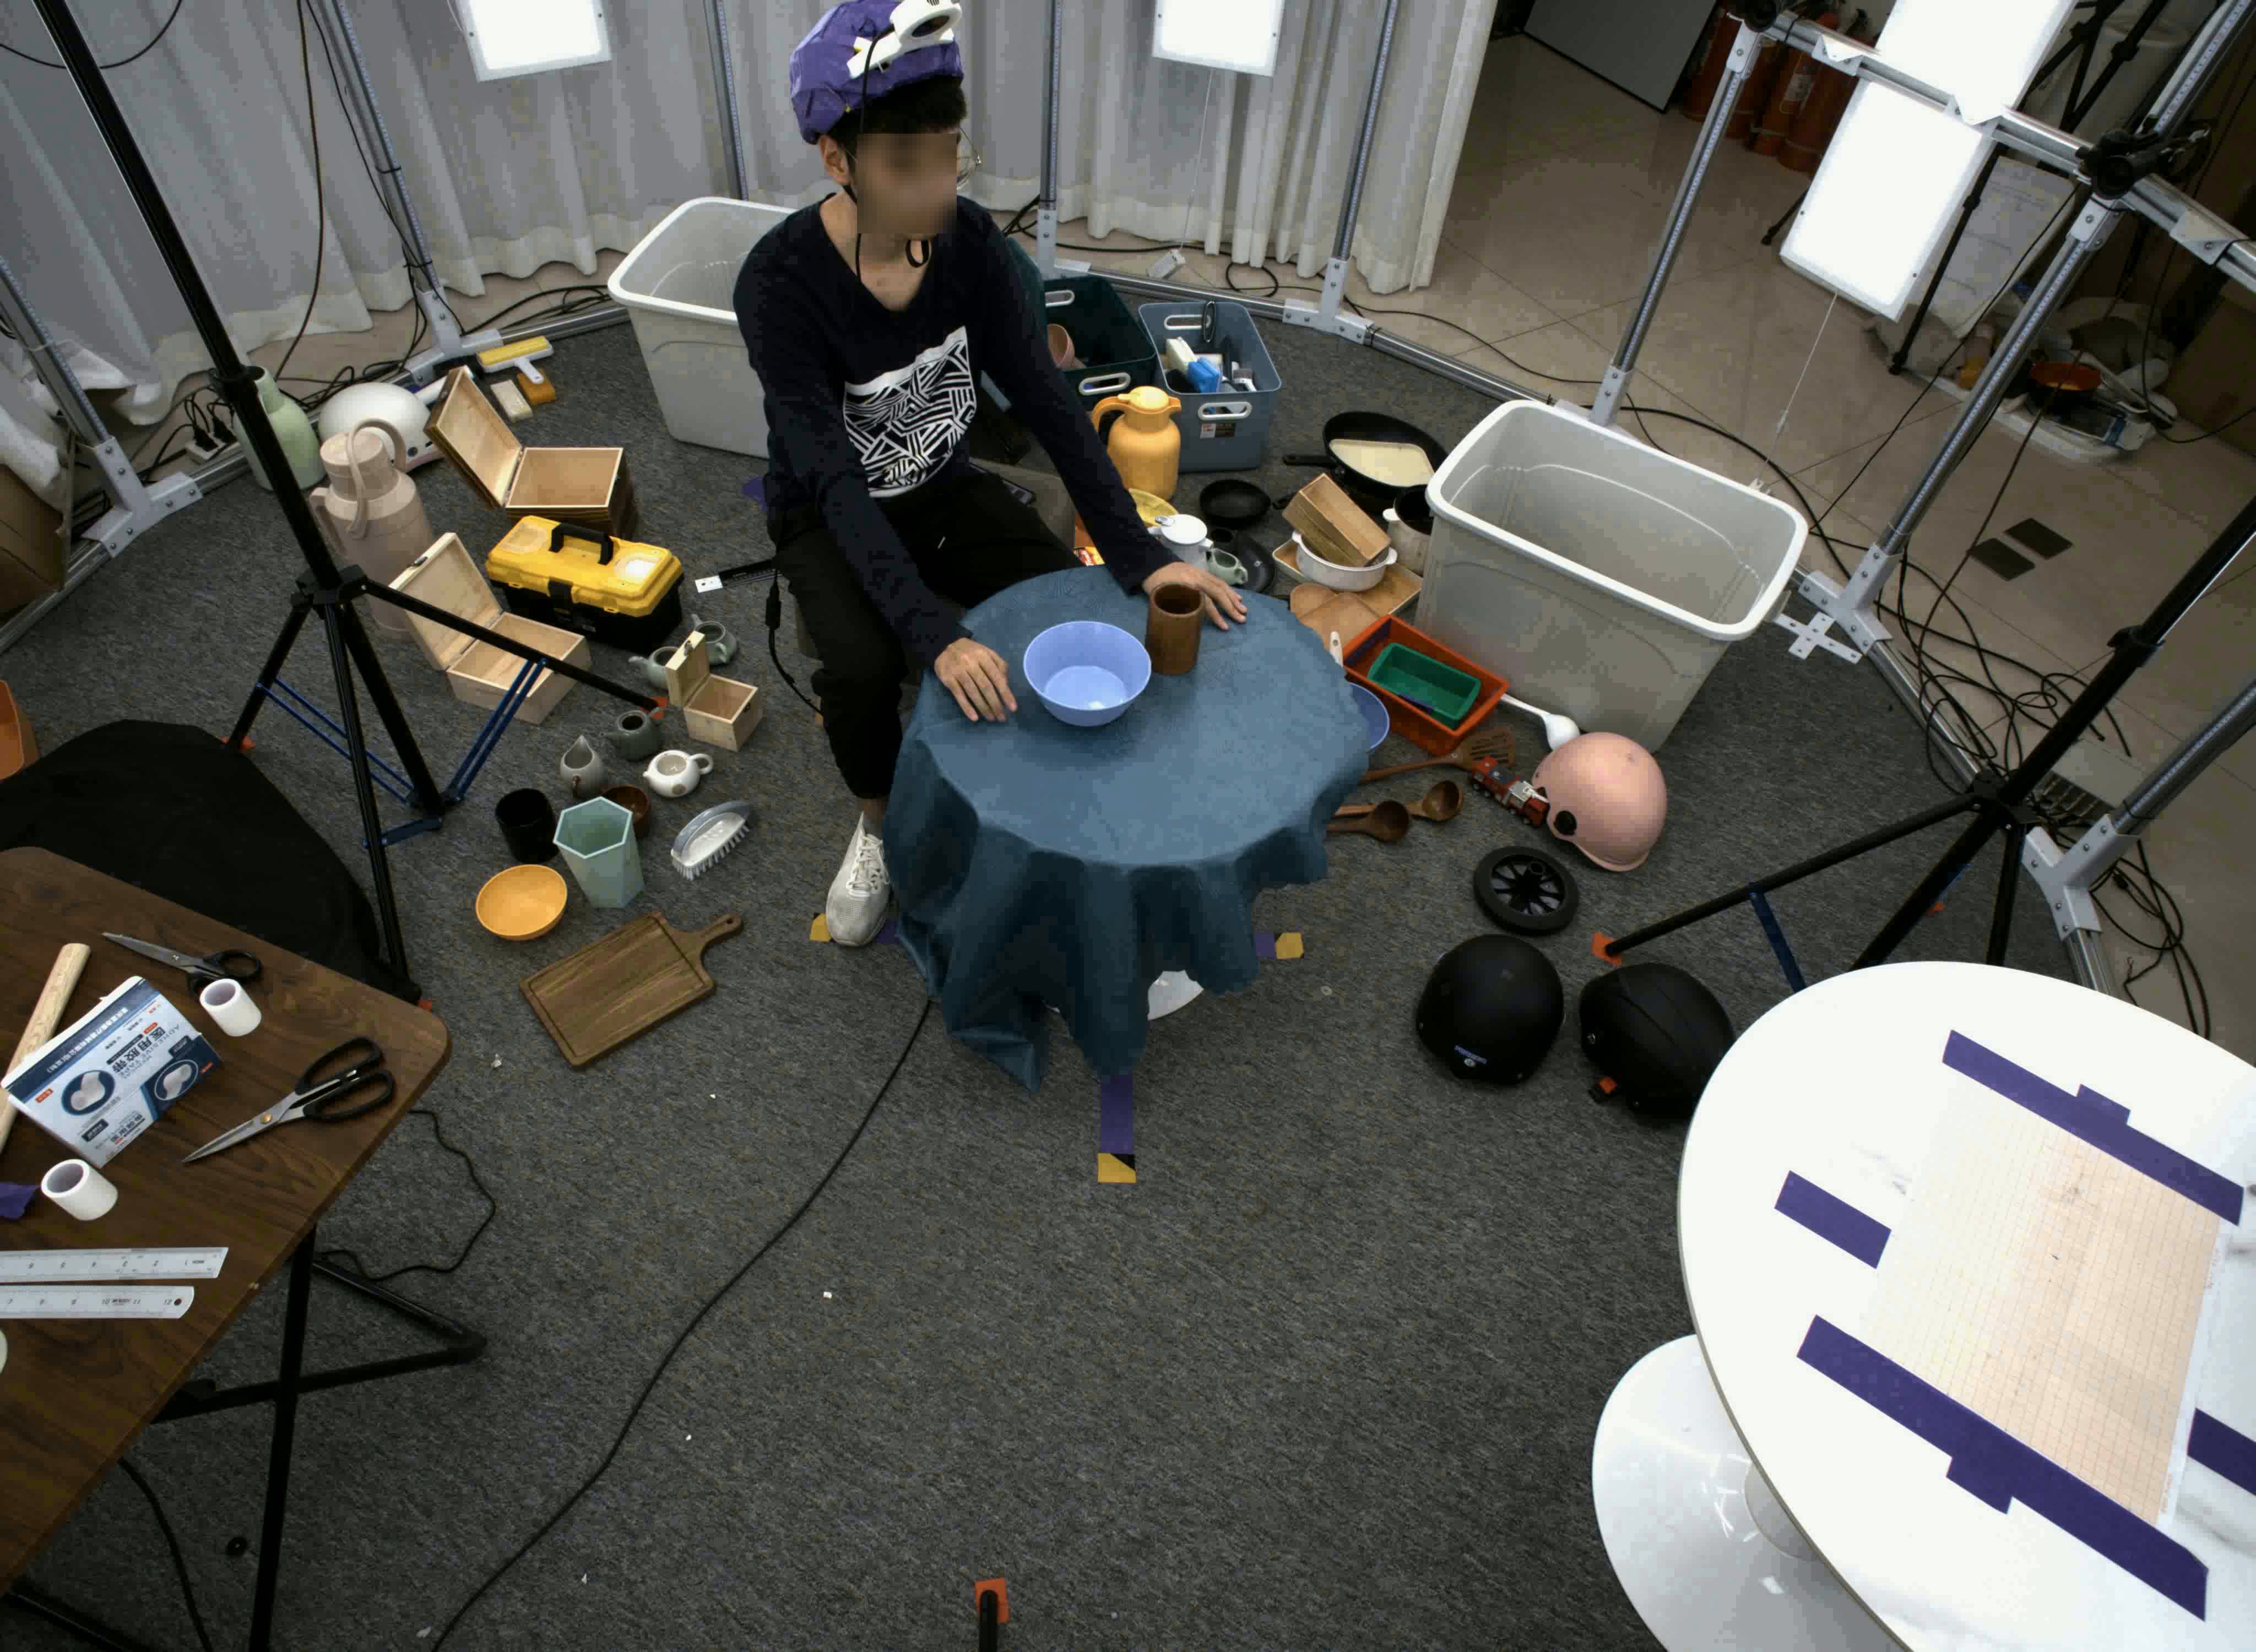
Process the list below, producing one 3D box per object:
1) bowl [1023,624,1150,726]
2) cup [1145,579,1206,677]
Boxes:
[{"bbox_3d":[-0.059,-0.203,1.795,0.176,0.068,0.180,2,48,-2],"label":"bowl"},{"bbox_3d":[0.066,-0.283,1.843,0.087,0.115,0.090,2,46,-2],"label":"cup"}]
